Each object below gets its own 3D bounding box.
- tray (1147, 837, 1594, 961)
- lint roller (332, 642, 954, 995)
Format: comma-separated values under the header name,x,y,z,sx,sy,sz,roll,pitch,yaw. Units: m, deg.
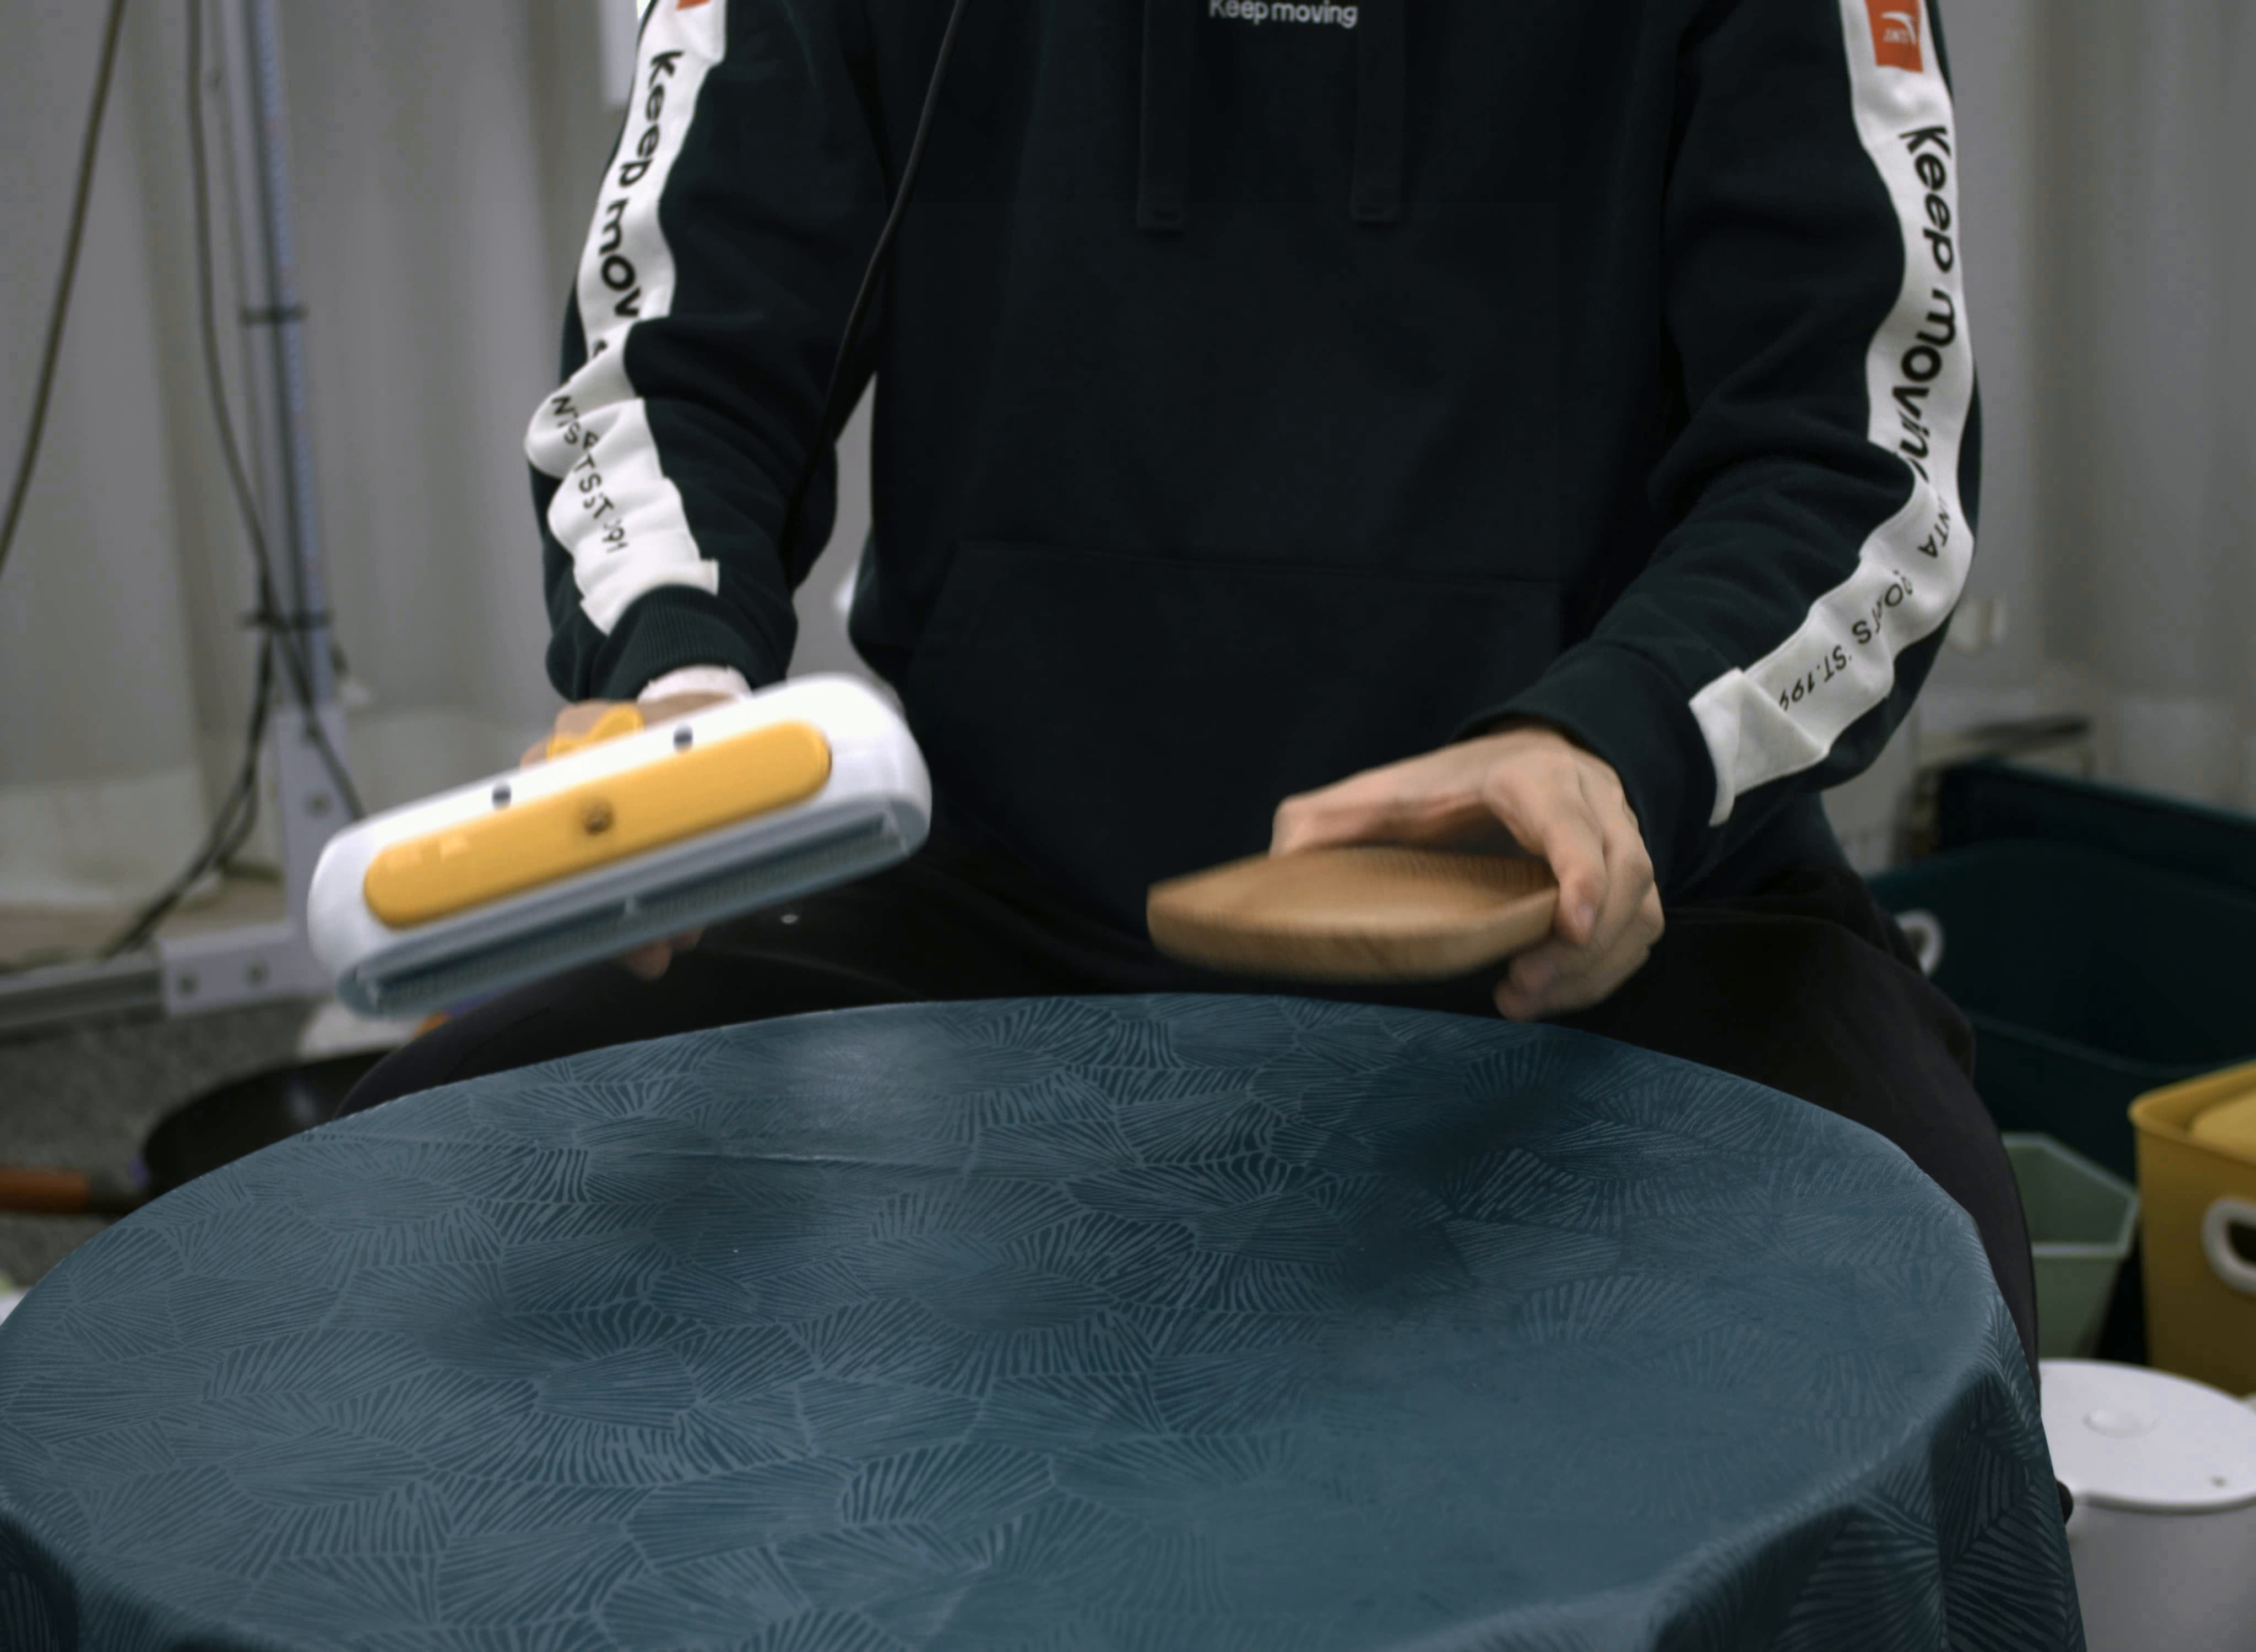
name,x,y,z,sx,sy,sz,roll,pitch,yaw
tray,0.075,0.022,1.652,0.102,0.020,0.231,5,6,17
lint roller,-0.148,0.008,1.715,0.192,0.075,0.191,-22,-14,-4
